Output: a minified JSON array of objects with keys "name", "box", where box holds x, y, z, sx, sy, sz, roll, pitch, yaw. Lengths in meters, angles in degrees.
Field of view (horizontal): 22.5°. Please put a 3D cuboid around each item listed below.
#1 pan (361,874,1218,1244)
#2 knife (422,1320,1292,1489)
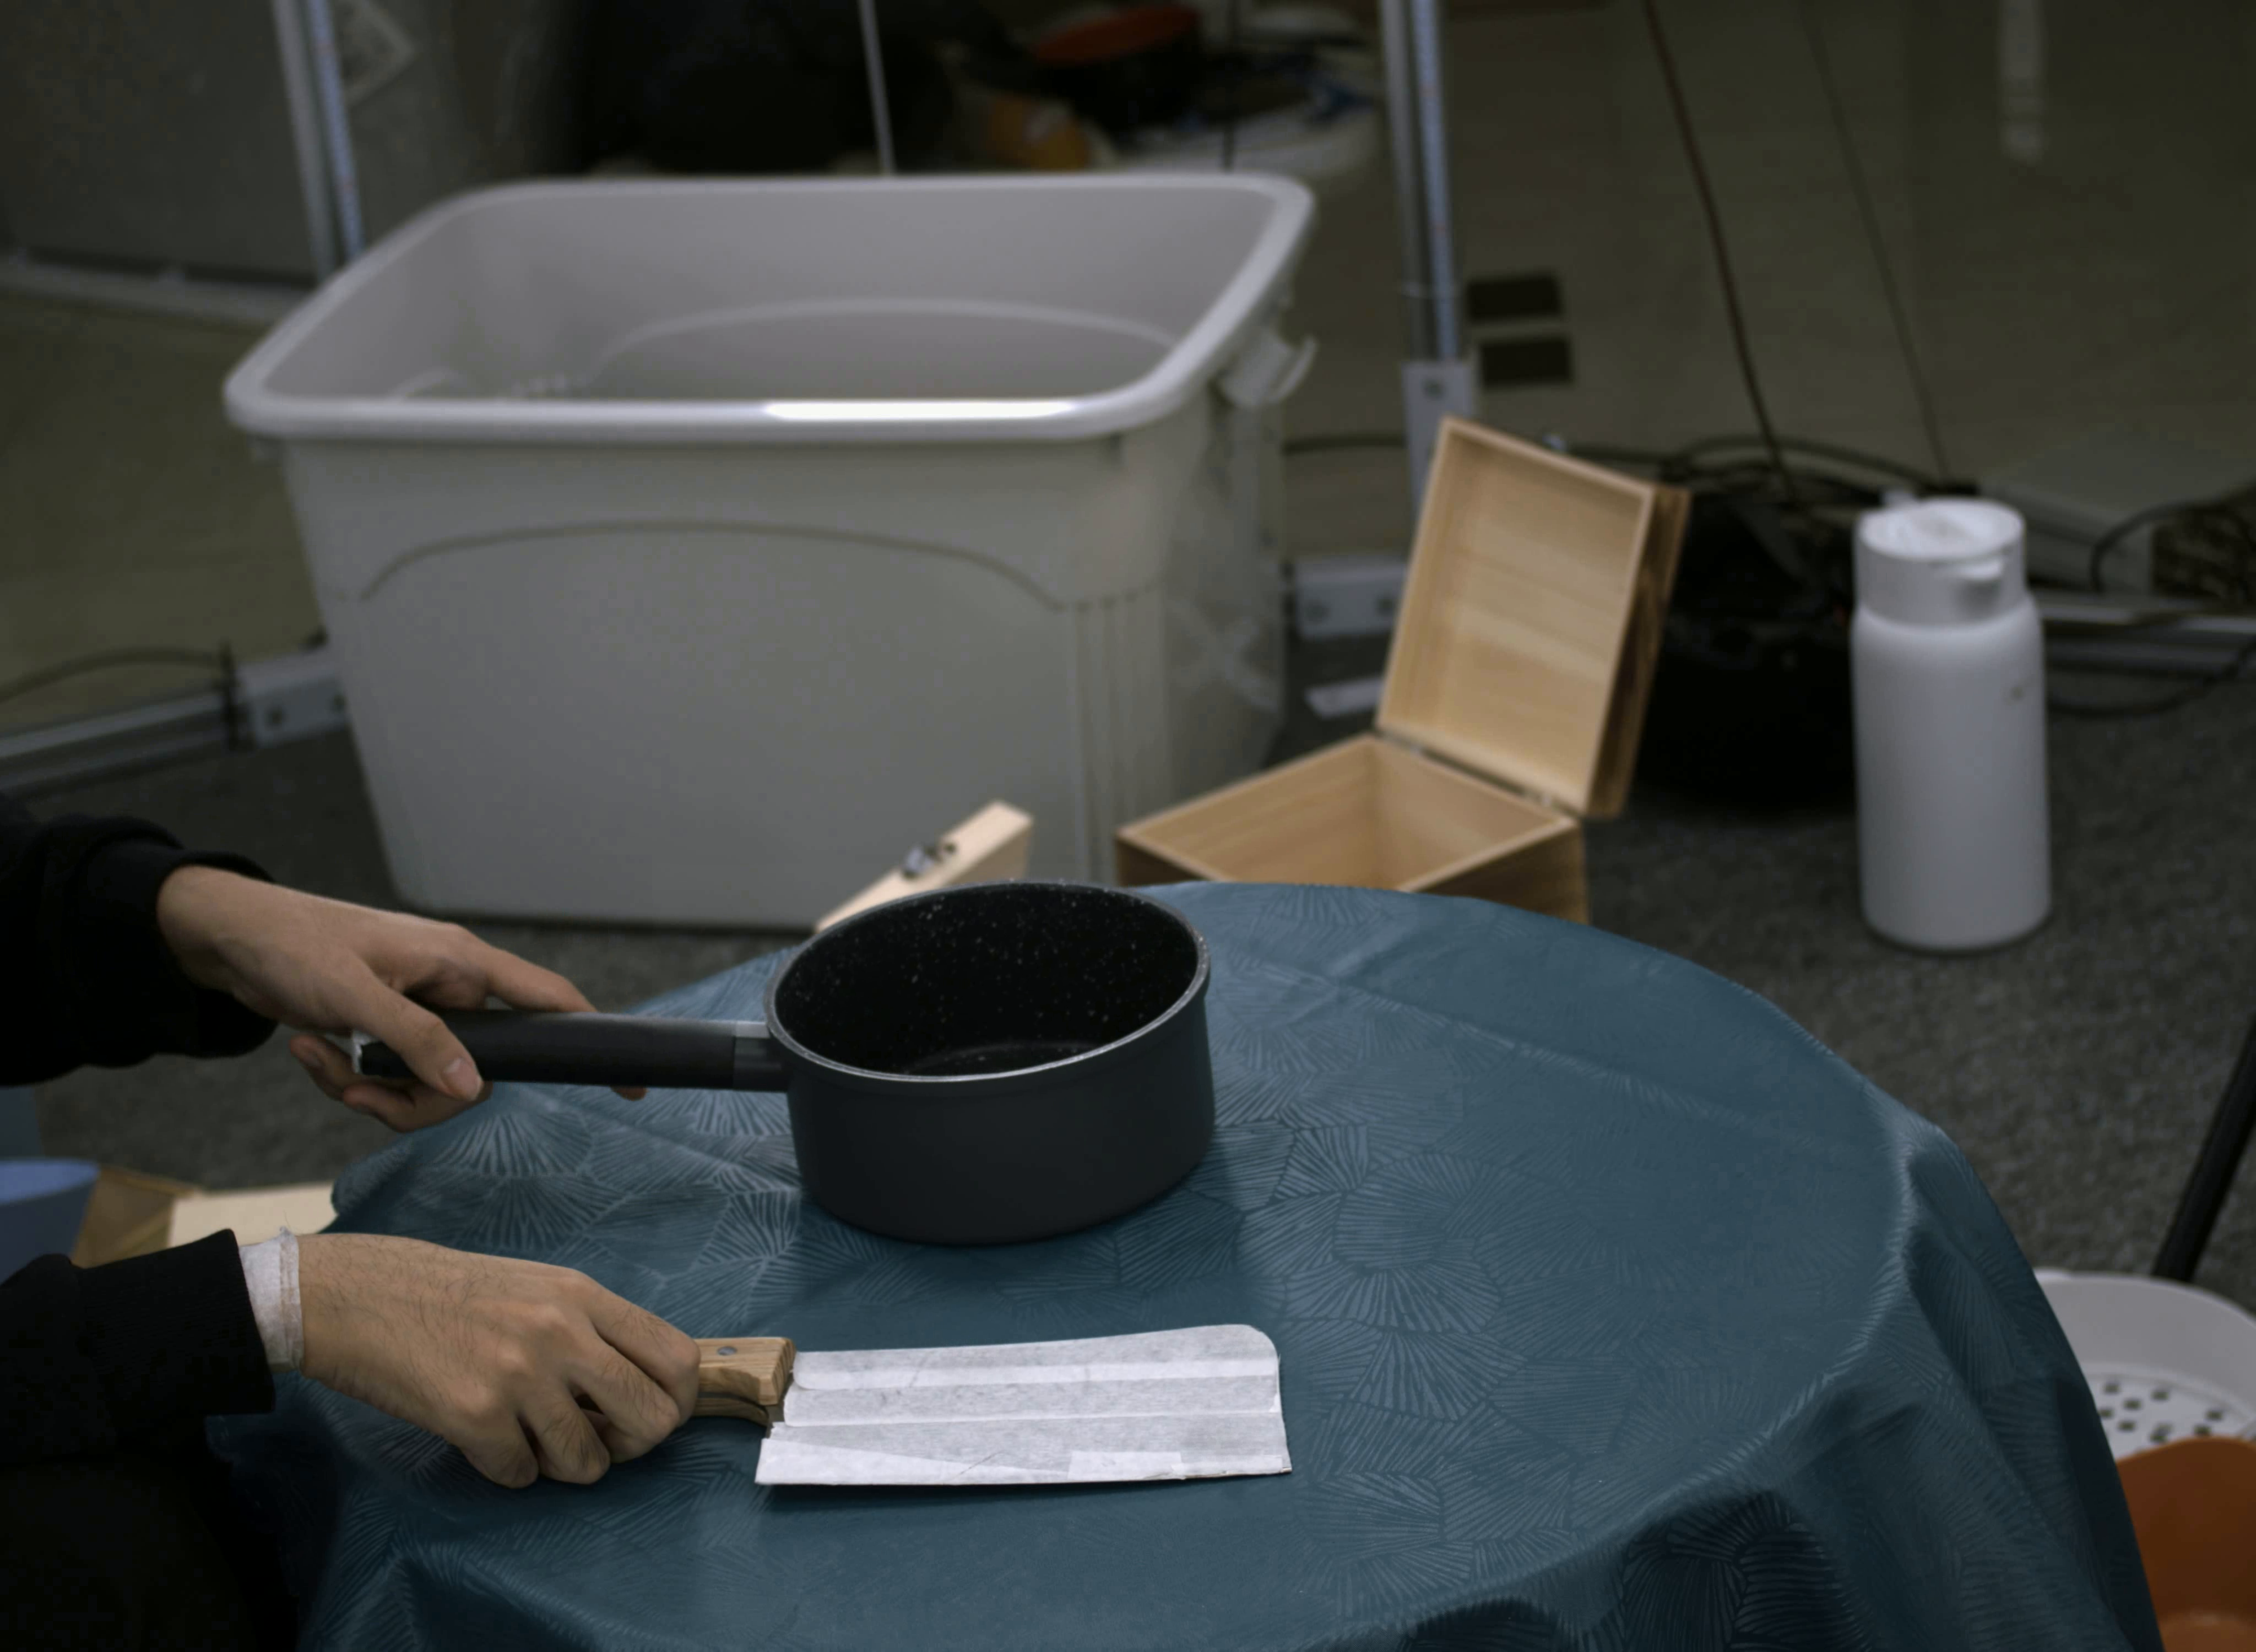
[{"name":"pan","box":[-0.128,0.095,2.173,0.328,0.088,0.169,-4,23,3]},{"name":"knife","box":[-0.096,0.204,2.010,0.315,0.022,0.112,0,26,7]}]
